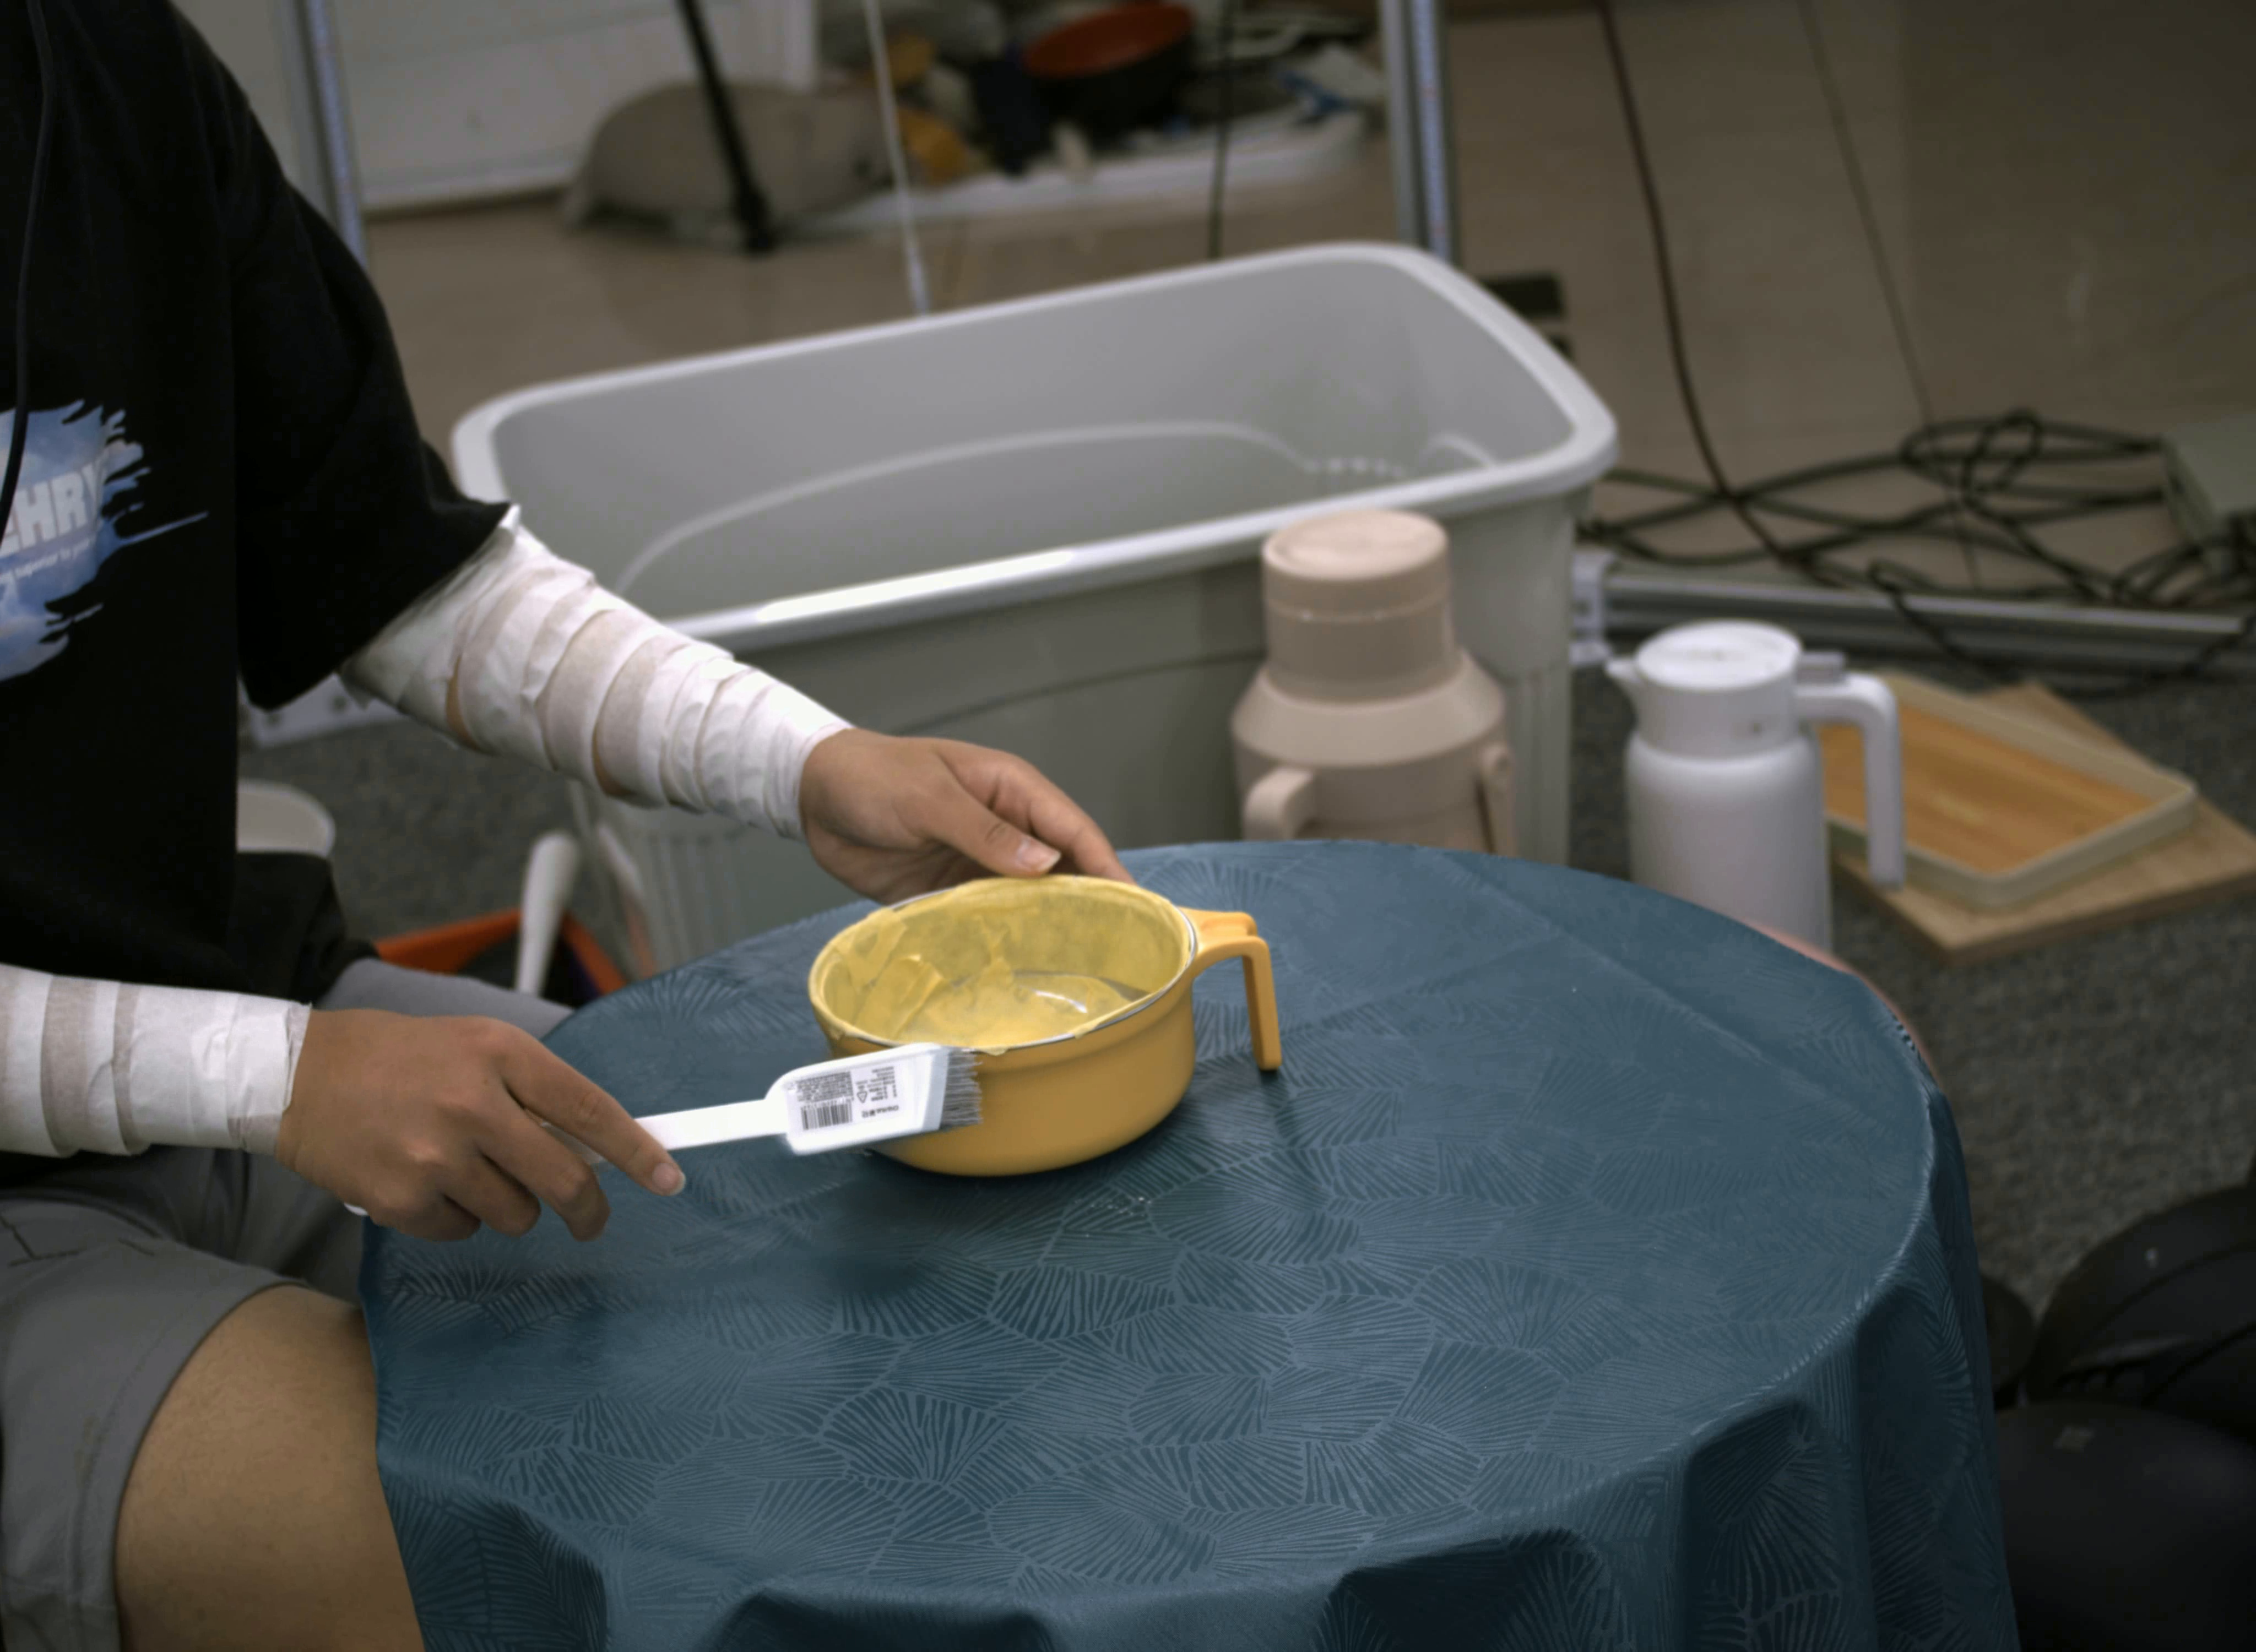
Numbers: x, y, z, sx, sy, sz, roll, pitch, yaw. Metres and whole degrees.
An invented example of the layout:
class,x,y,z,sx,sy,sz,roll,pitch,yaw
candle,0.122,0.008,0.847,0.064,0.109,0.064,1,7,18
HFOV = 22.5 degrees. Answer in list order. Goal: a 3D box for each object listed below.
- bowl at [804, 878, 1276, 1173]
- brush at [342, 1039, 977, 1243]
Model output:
class,x,y,z,sx,sy,sz,roll,pitch,yaw
bowl,-0.033,0.079,2.203,0.179,0.075,0.151,-11,20,-10
brush,-0.175,0.120,2.119,0.243,0.034,0.050,-14,-7,12
